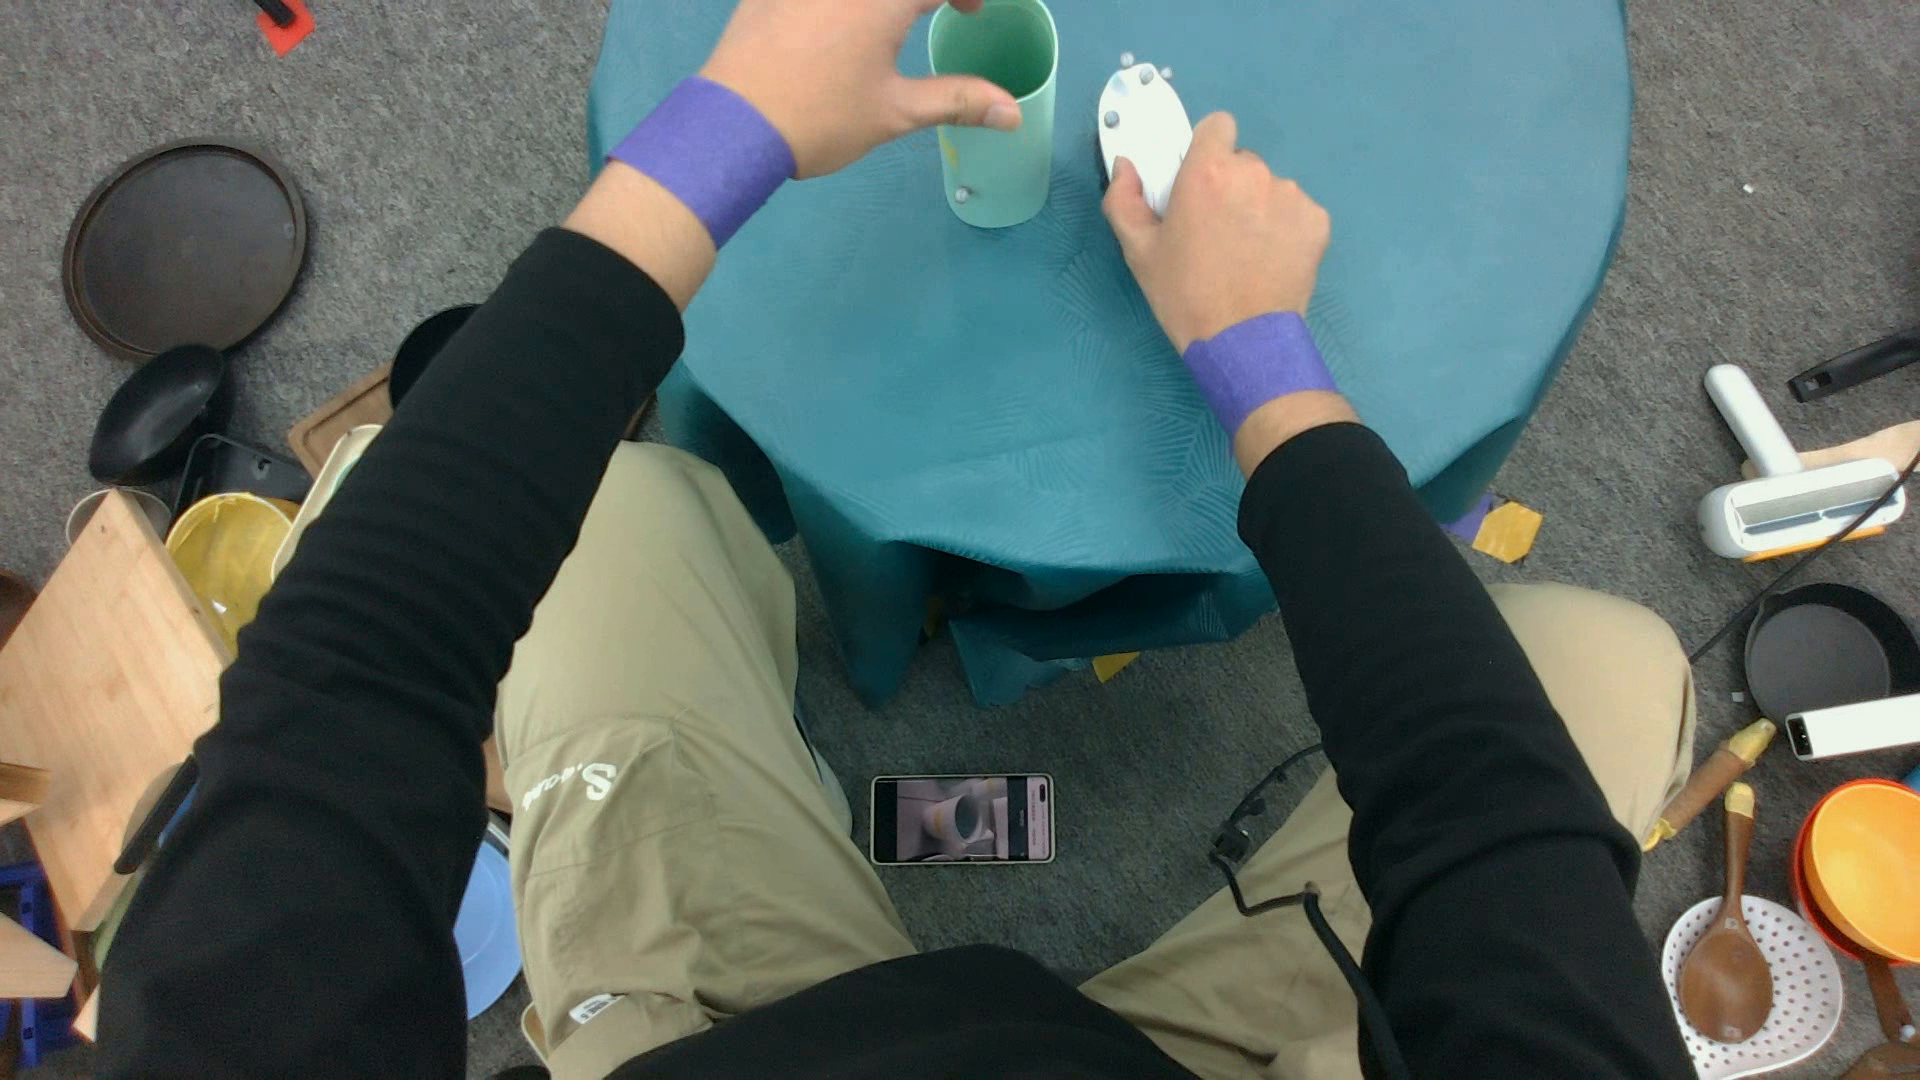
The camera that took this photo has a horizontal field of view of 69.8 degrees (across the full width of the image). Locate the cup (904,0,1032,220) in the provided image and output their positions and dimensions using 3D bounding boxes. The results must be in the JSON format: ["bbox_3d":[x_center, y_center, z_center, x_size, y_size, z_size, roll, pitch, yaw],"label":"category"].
[{"bbox_3d":[0.007,-0.227,0.731,0.067,0.132,0.067,0,77,1],"label":"cup"}]

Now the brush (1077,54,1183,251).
[{"bbox_3d":[0.094,-0.217,0.752,0.050,0.072,0.099,-11,76,0],"label":"brush"}]
